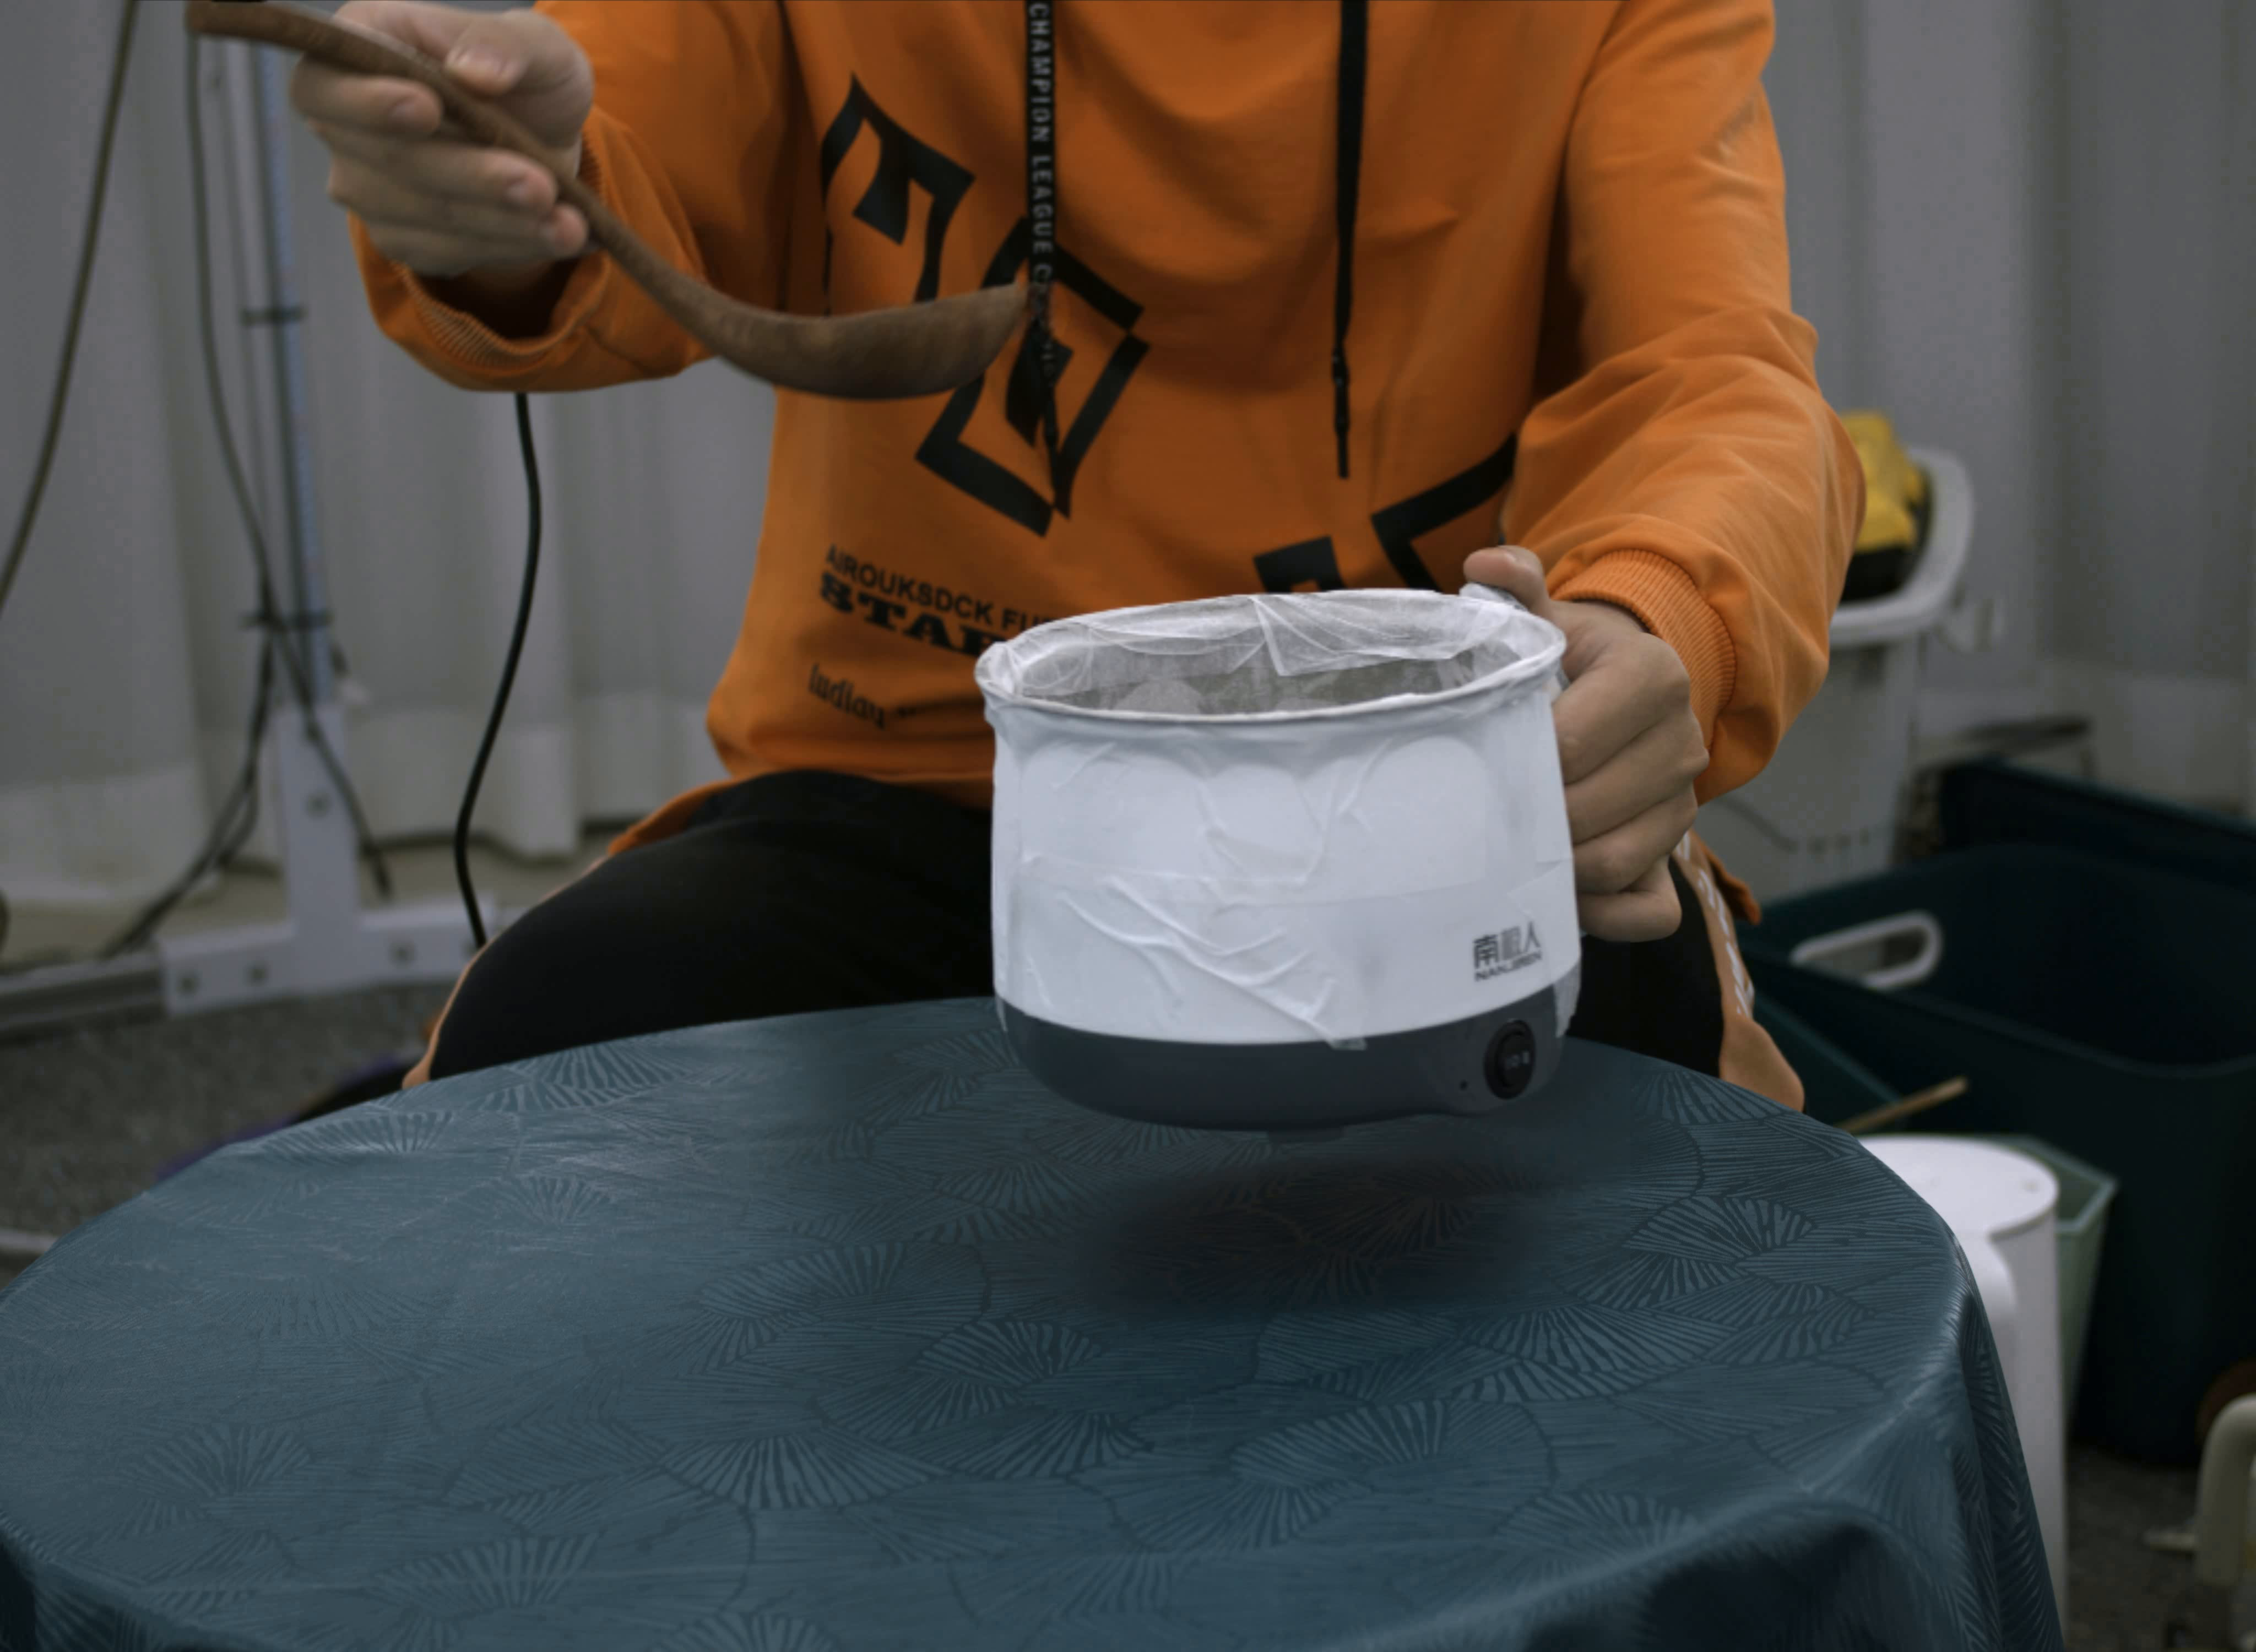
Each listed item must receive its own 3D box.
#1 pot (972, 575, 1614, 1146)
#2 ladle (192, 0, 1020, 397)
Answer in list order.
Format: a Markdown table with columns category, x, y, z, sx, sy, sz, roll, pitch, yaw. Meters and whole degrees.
| category | x | y | z | sx | sy | sz | roll | pitch | yaw |
| --- | --- | --- | --- | --- | --- | --- | --- | --- | --- |
| pot | 0.063 | 0.004 | 1.661 | 0.179 | 0.136 | 0.233 | 9 | 18 | 41 |
| ladle | -0.152 | -0.199 | 1.618 | 0.260 | 0.065 | 0.076 | 32 | -1 | 0 |
